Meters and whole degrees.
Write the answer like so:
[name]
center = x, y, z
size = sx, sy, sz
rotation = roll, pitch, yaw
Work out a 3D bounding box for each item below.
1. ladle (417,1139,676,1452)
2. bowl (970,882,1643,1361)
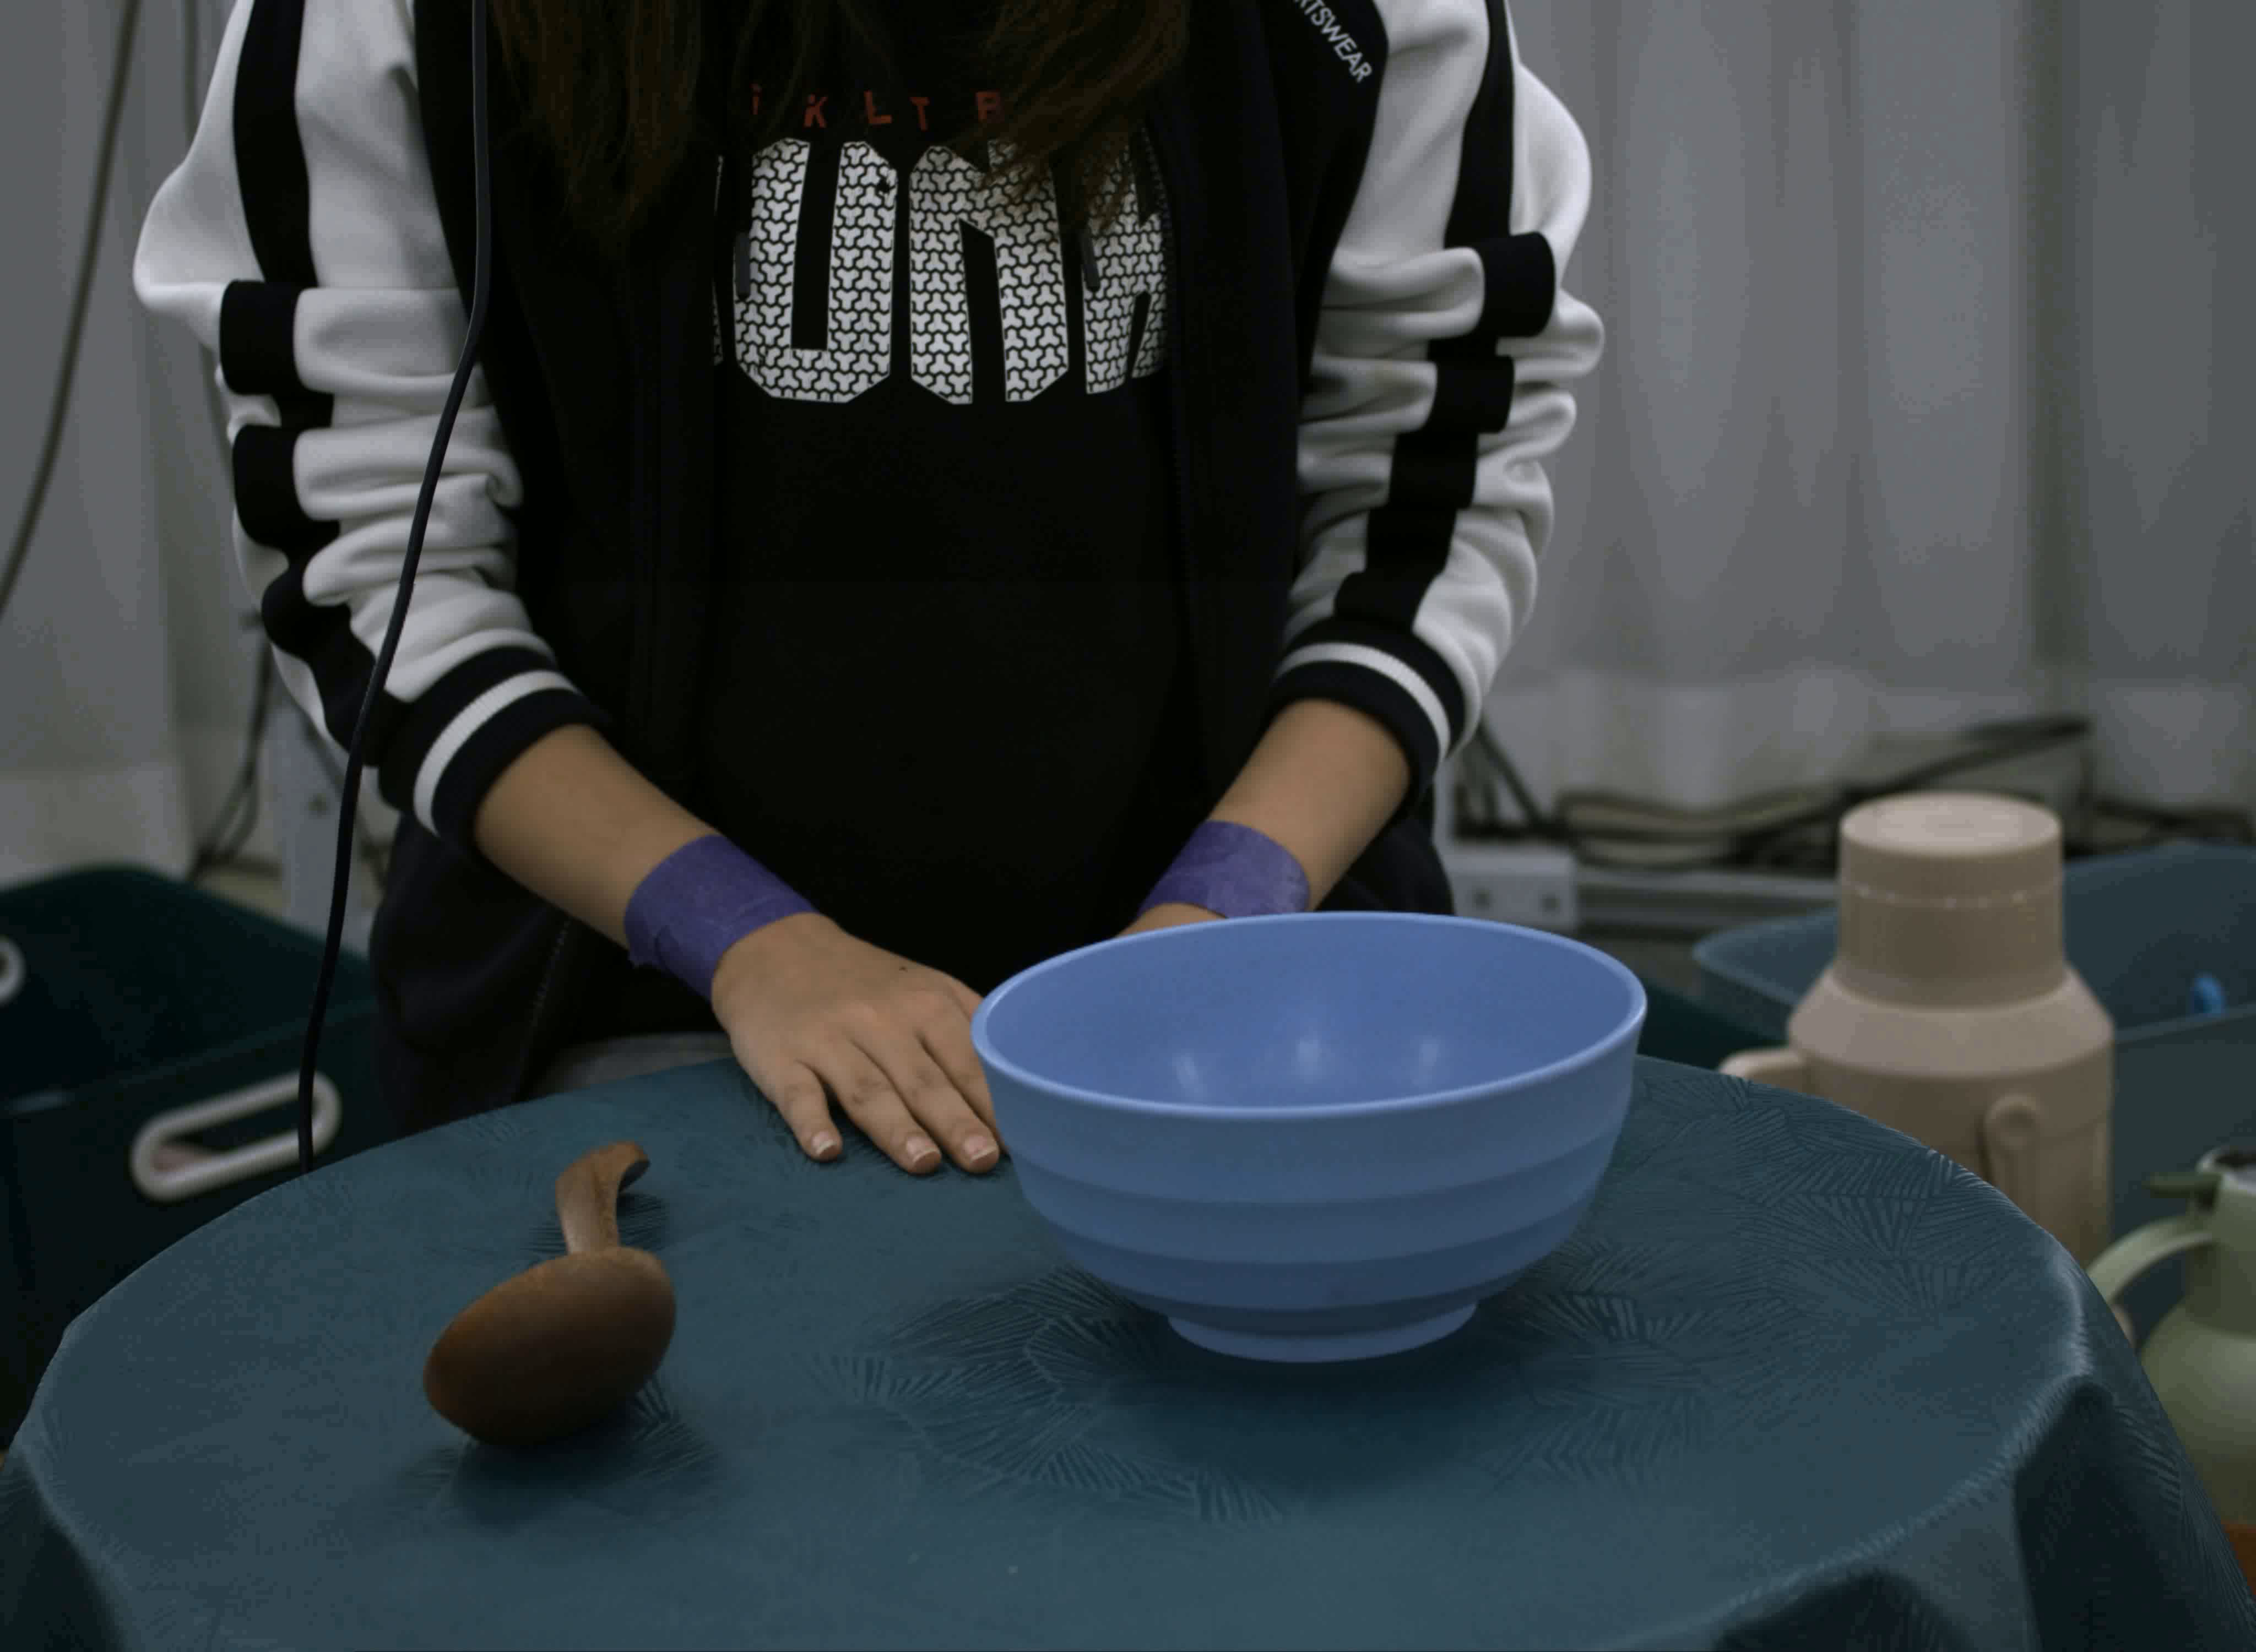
[ladle]
center = -0.166, 0.121, 1.609
size = 0.076, 0.065, 0.262
rotation = -31, 15, 4
[bowl]
center = 0.057, 0.094, 1.598
size = 0.196, 0.095, 0.198
rotation = -7, 19, 2
